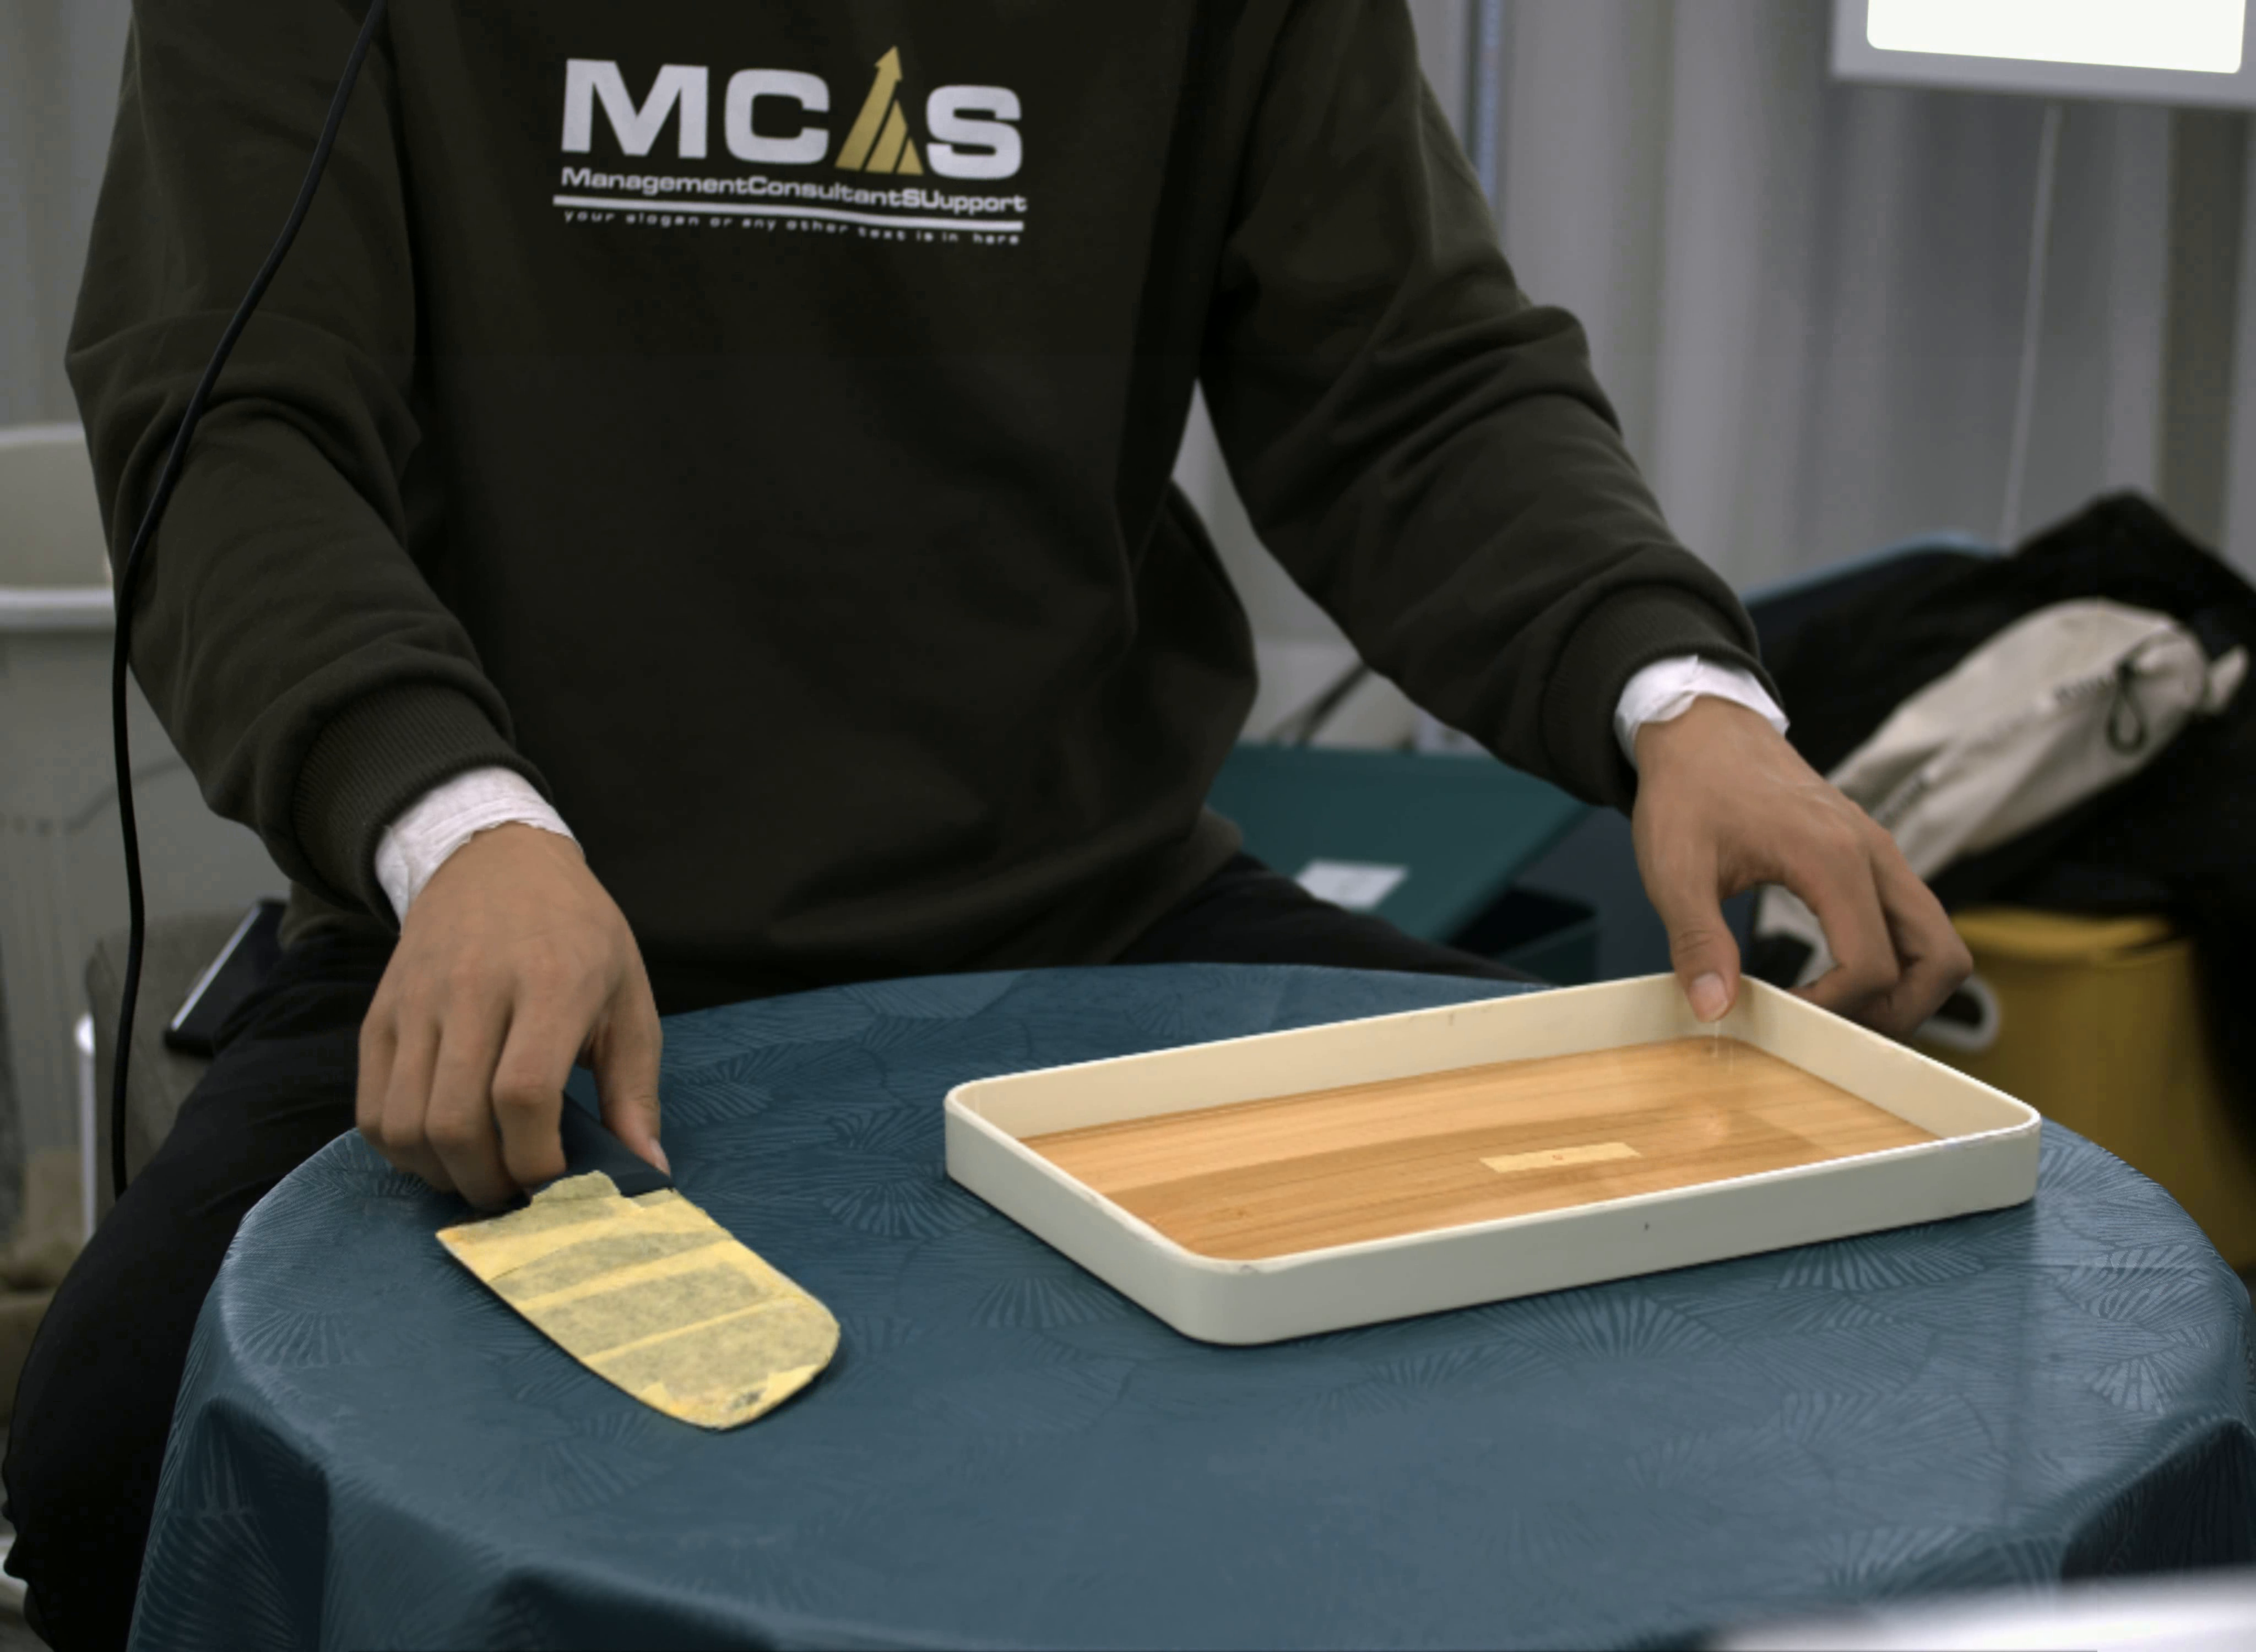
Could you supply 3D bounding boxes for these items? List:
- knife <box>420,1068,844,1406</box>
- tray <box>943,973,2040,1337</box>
[{"bbox_3d":[-0.162,0.122,1.559,0.081,0.027,0.286,-9,18,-25],"label":"knife"},{"bbox_3d":[0.111,0.098,1.631,0.301,0.027,0.189,-7,16,-27],"label":"tray"}]
